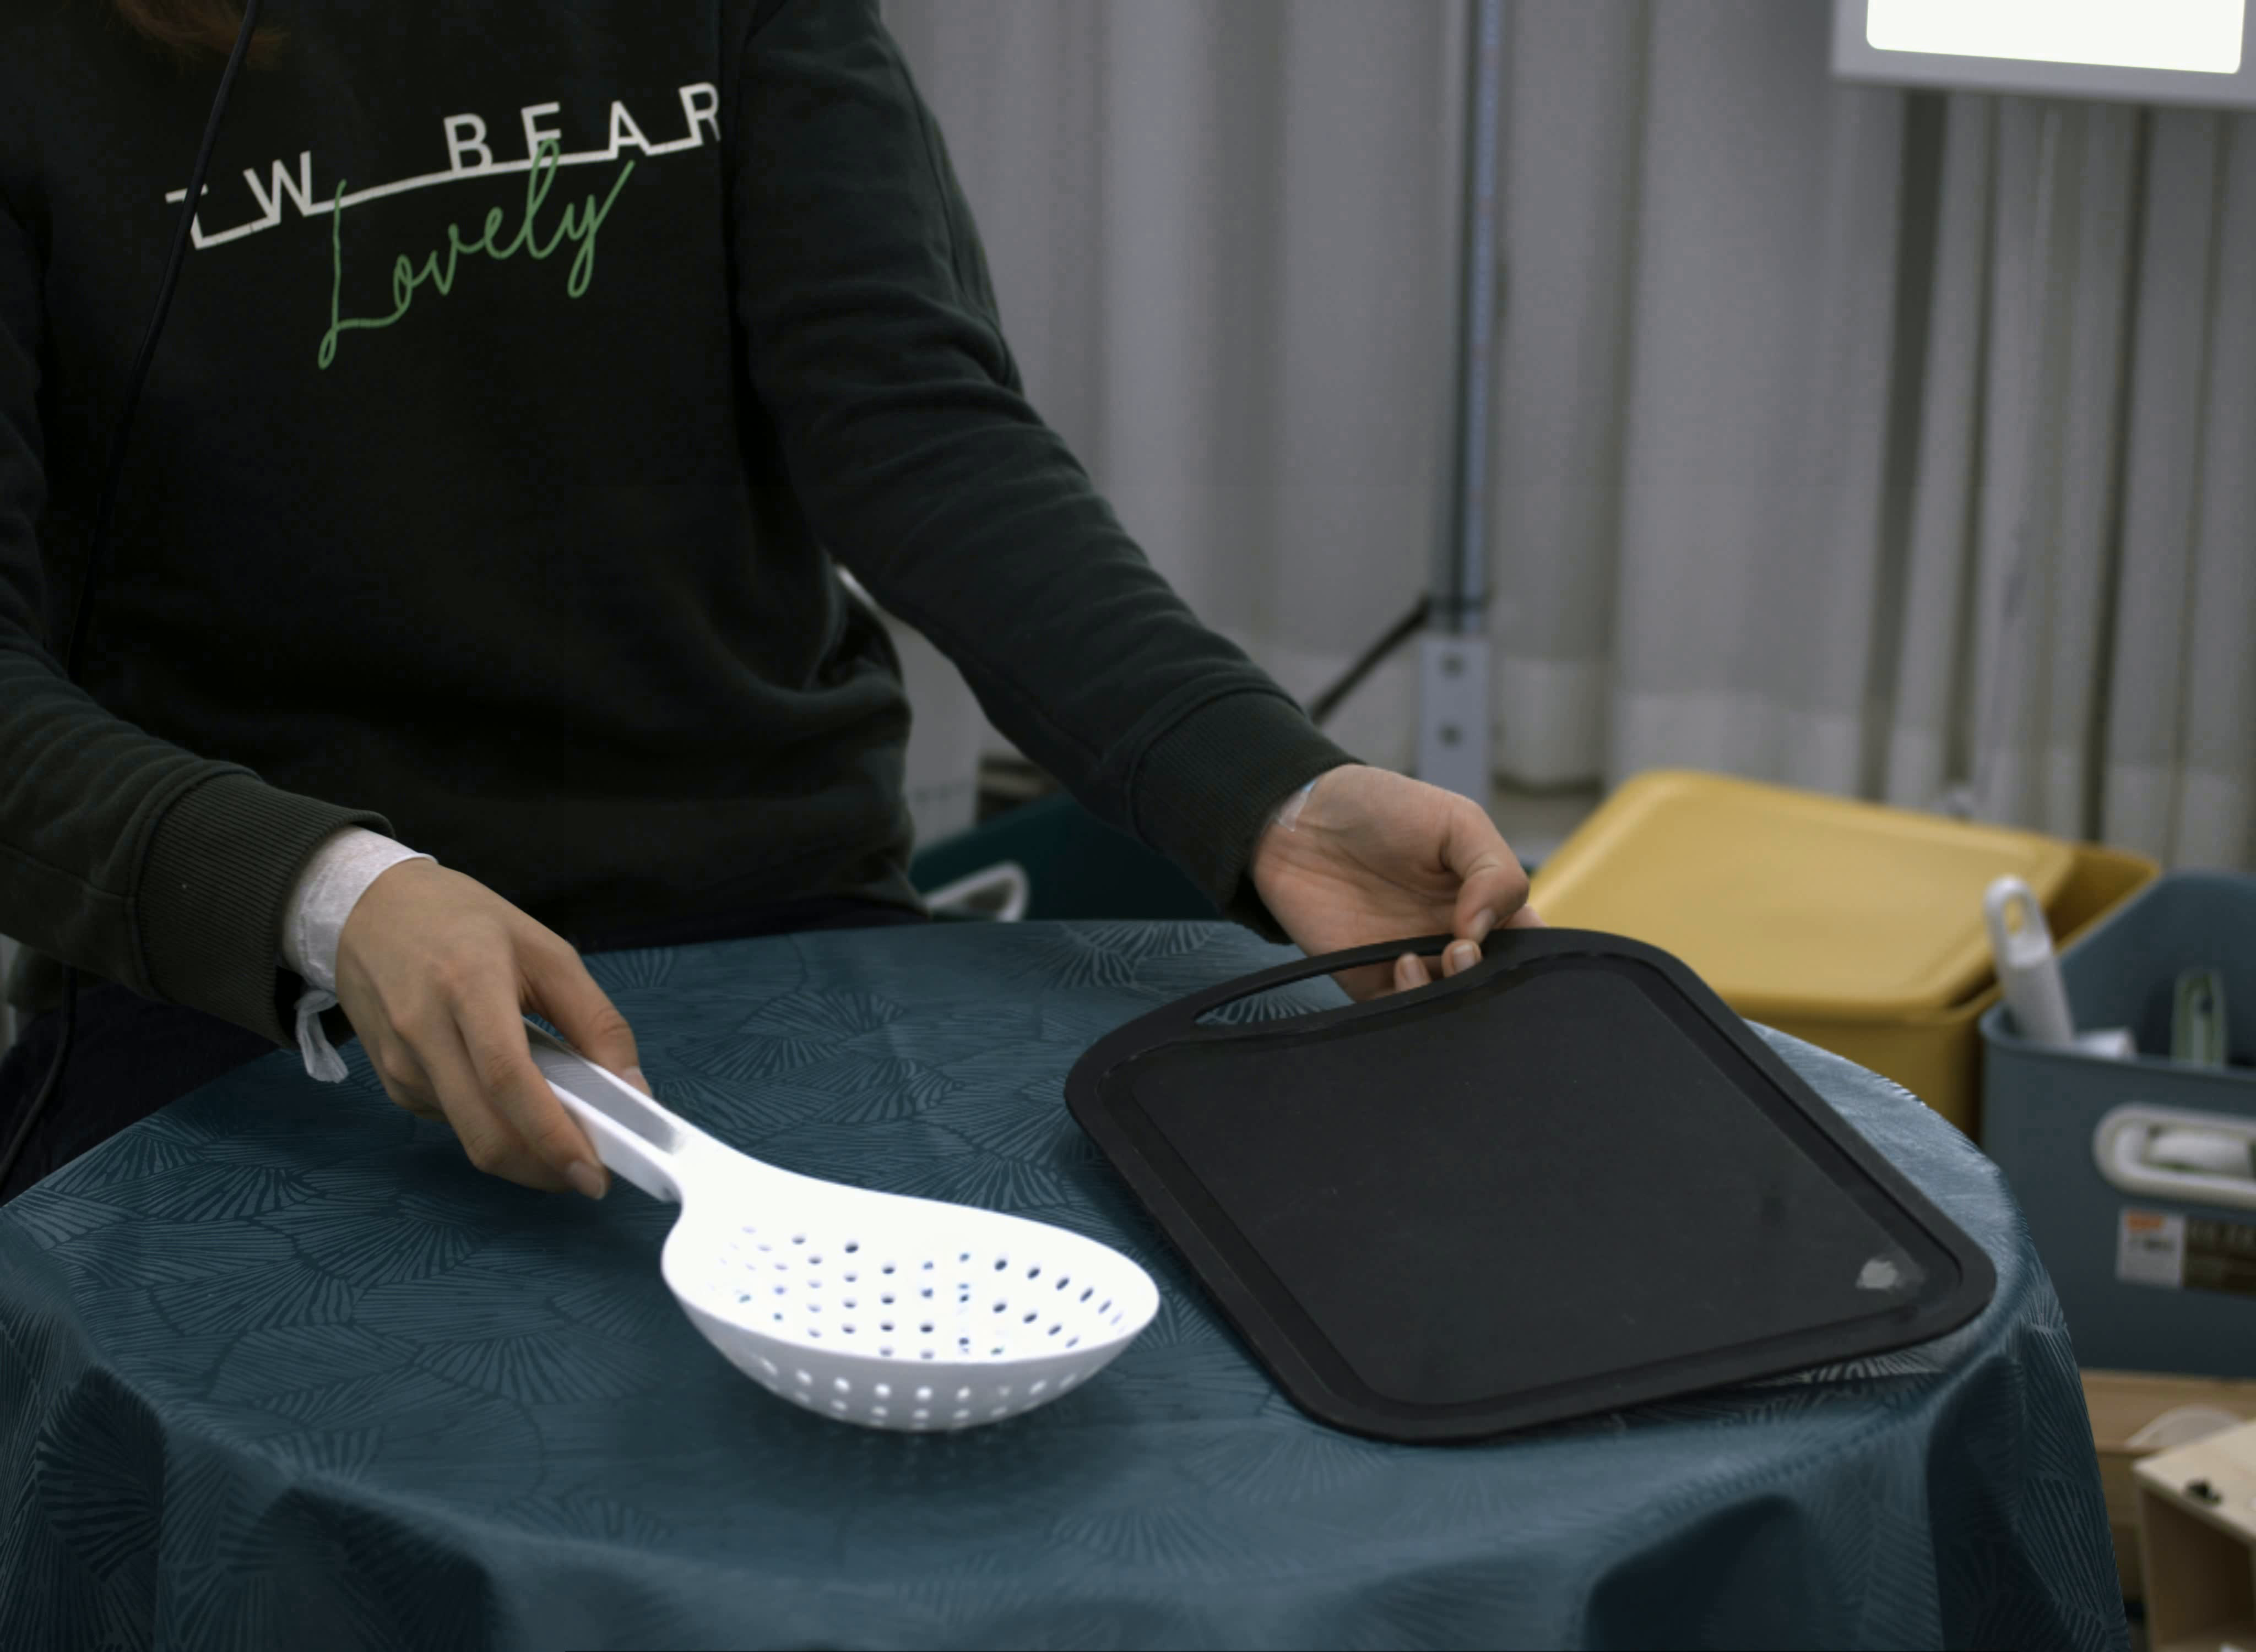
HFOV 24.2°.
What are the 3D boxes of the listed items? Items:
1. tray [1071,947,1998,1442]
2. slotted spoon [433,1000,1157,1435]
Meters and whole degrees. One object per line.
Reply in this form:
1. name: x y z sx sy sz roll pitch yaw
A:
1. tray: 0.110 0.101 1.586 0.211 0.010 0.321 -10 23 -15
2. slotted spoon: -0.117 0.105 1.522 0.137 0.046 0.345 -2 20 -34
